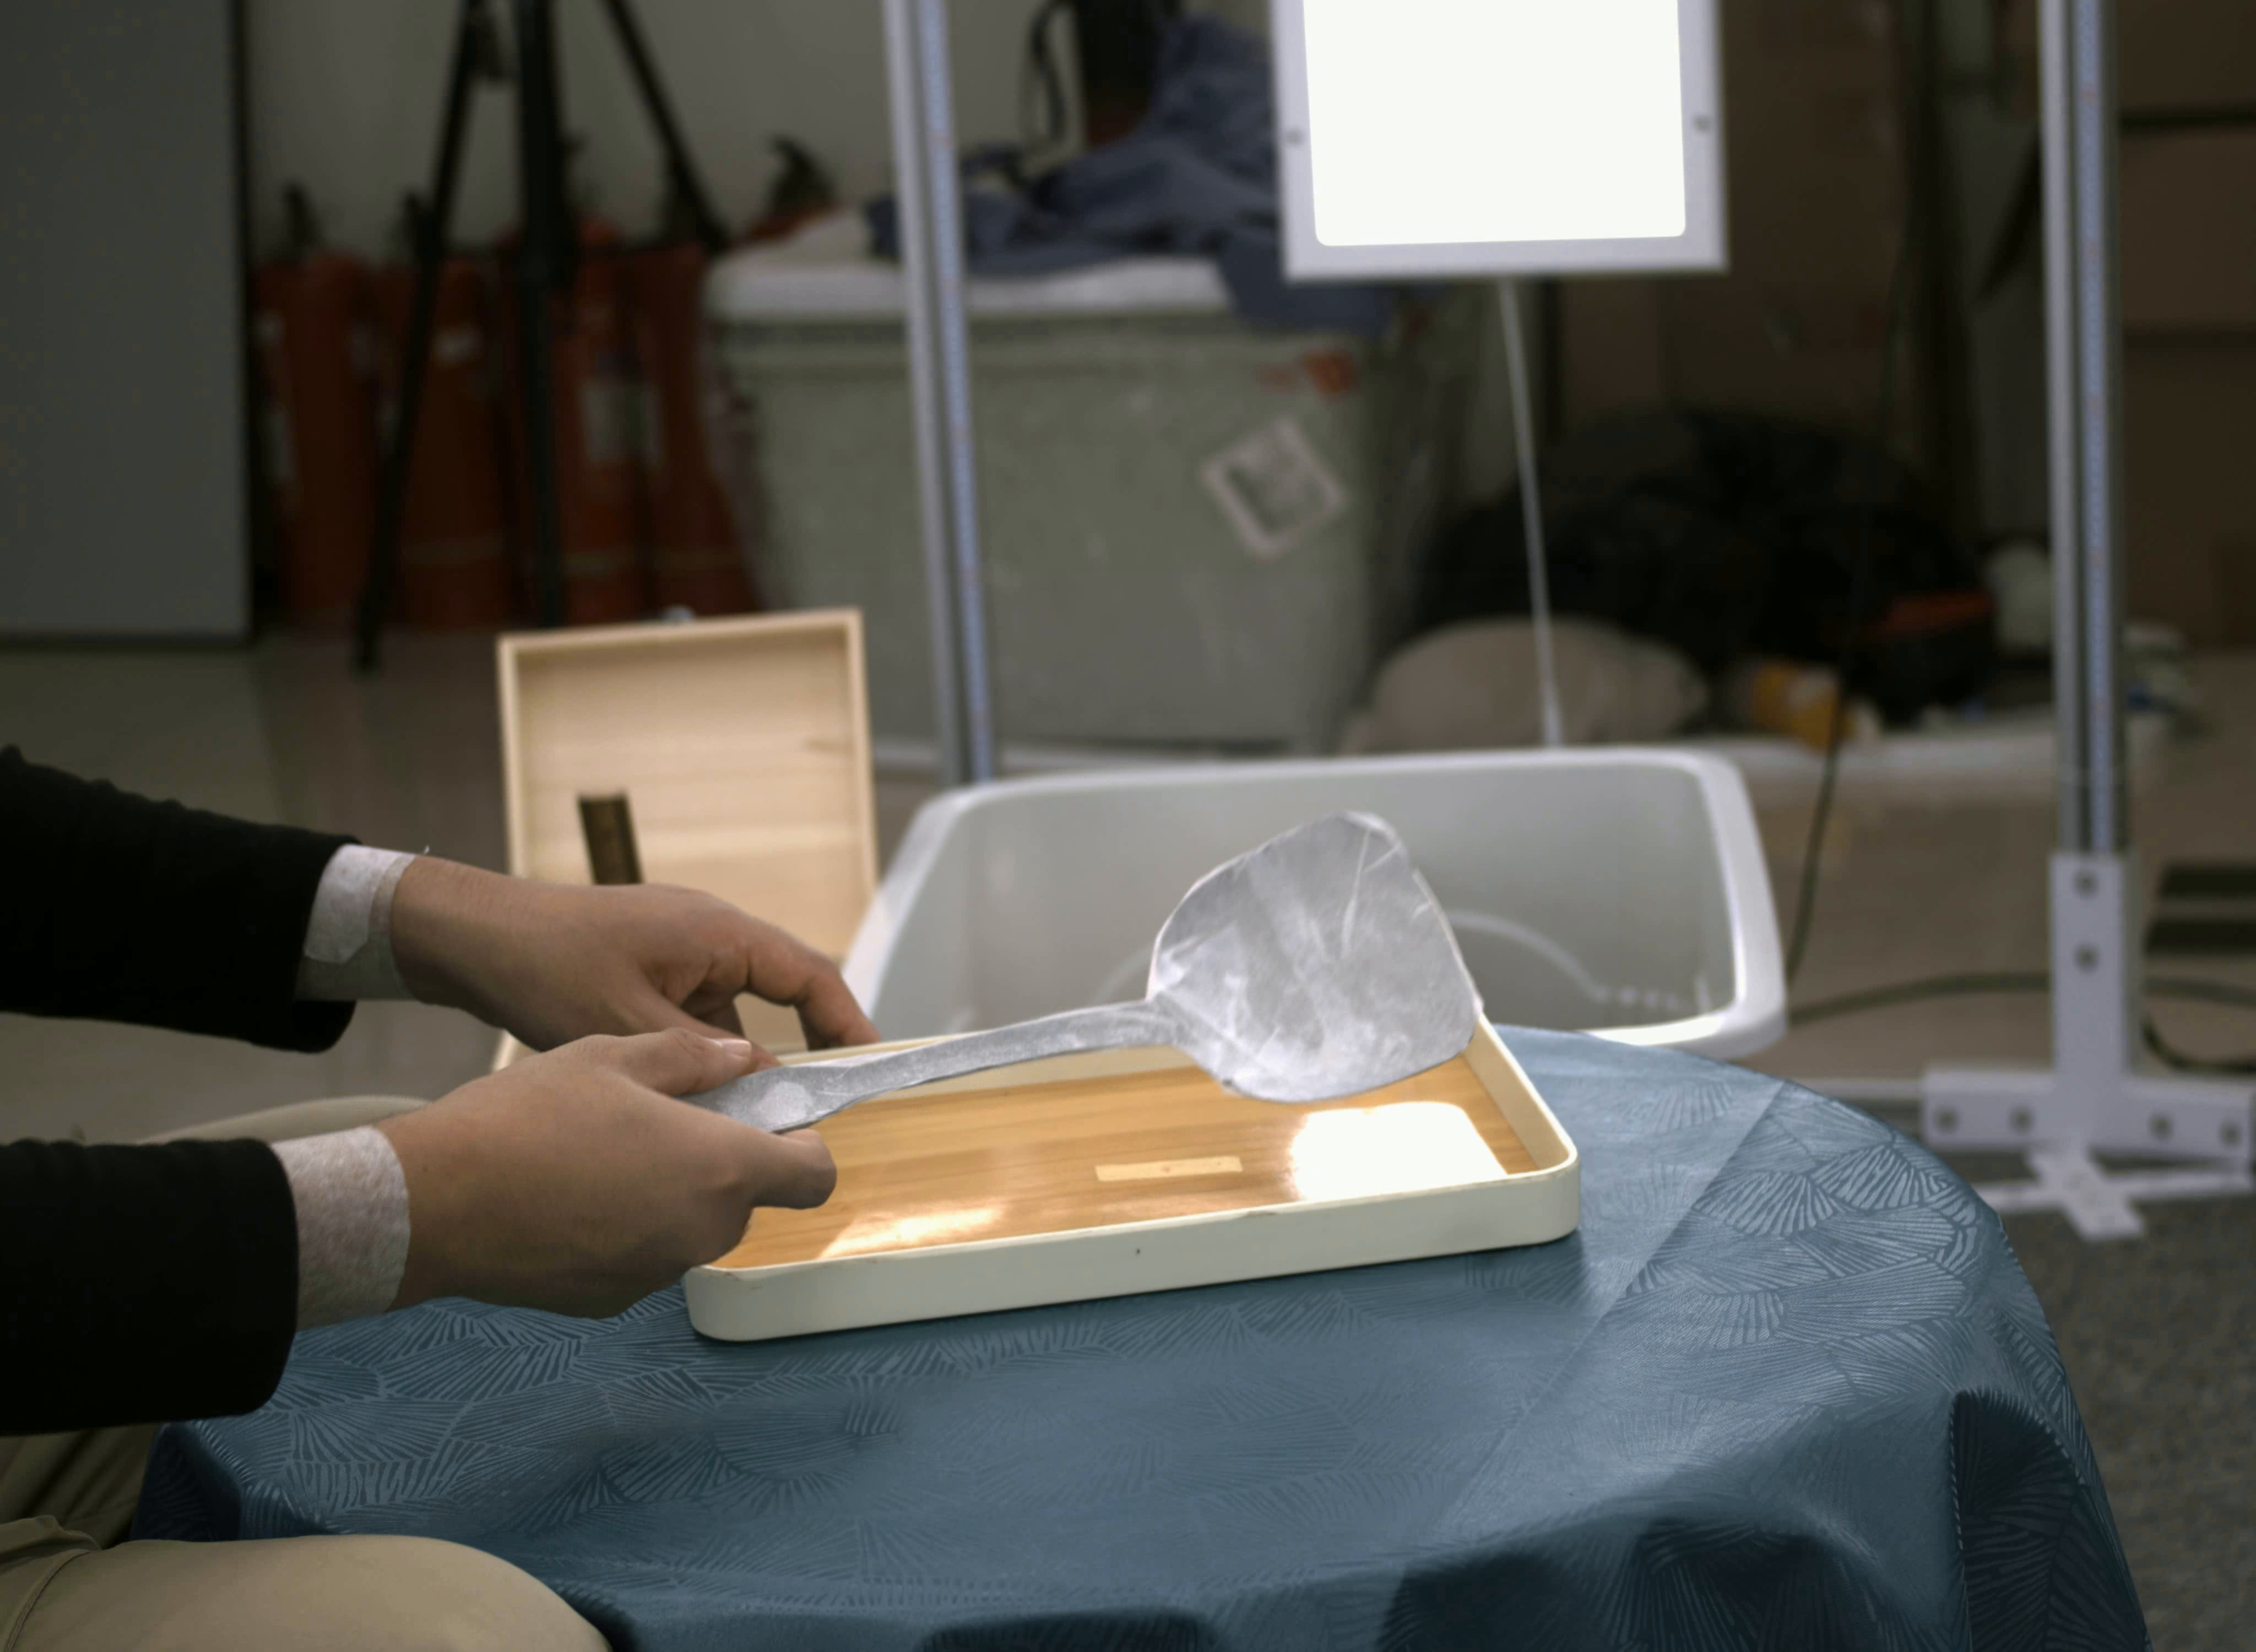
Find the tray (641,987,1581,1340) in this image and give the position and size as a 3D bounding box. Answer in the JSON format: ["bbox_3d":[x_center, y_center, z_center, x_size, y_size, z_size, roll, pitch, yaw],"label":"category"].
[{"bbox_3d":[-0.010,0.111,1.873,0.298,0.027,0.192,-7,19,-6],"label":"tray"}]

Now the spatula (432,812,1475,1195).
[{"bbox_3d":[-0.051,0.071,1.767,0.356,0.099,0.045,-11,-27,-31],"label":"spatula"}]
